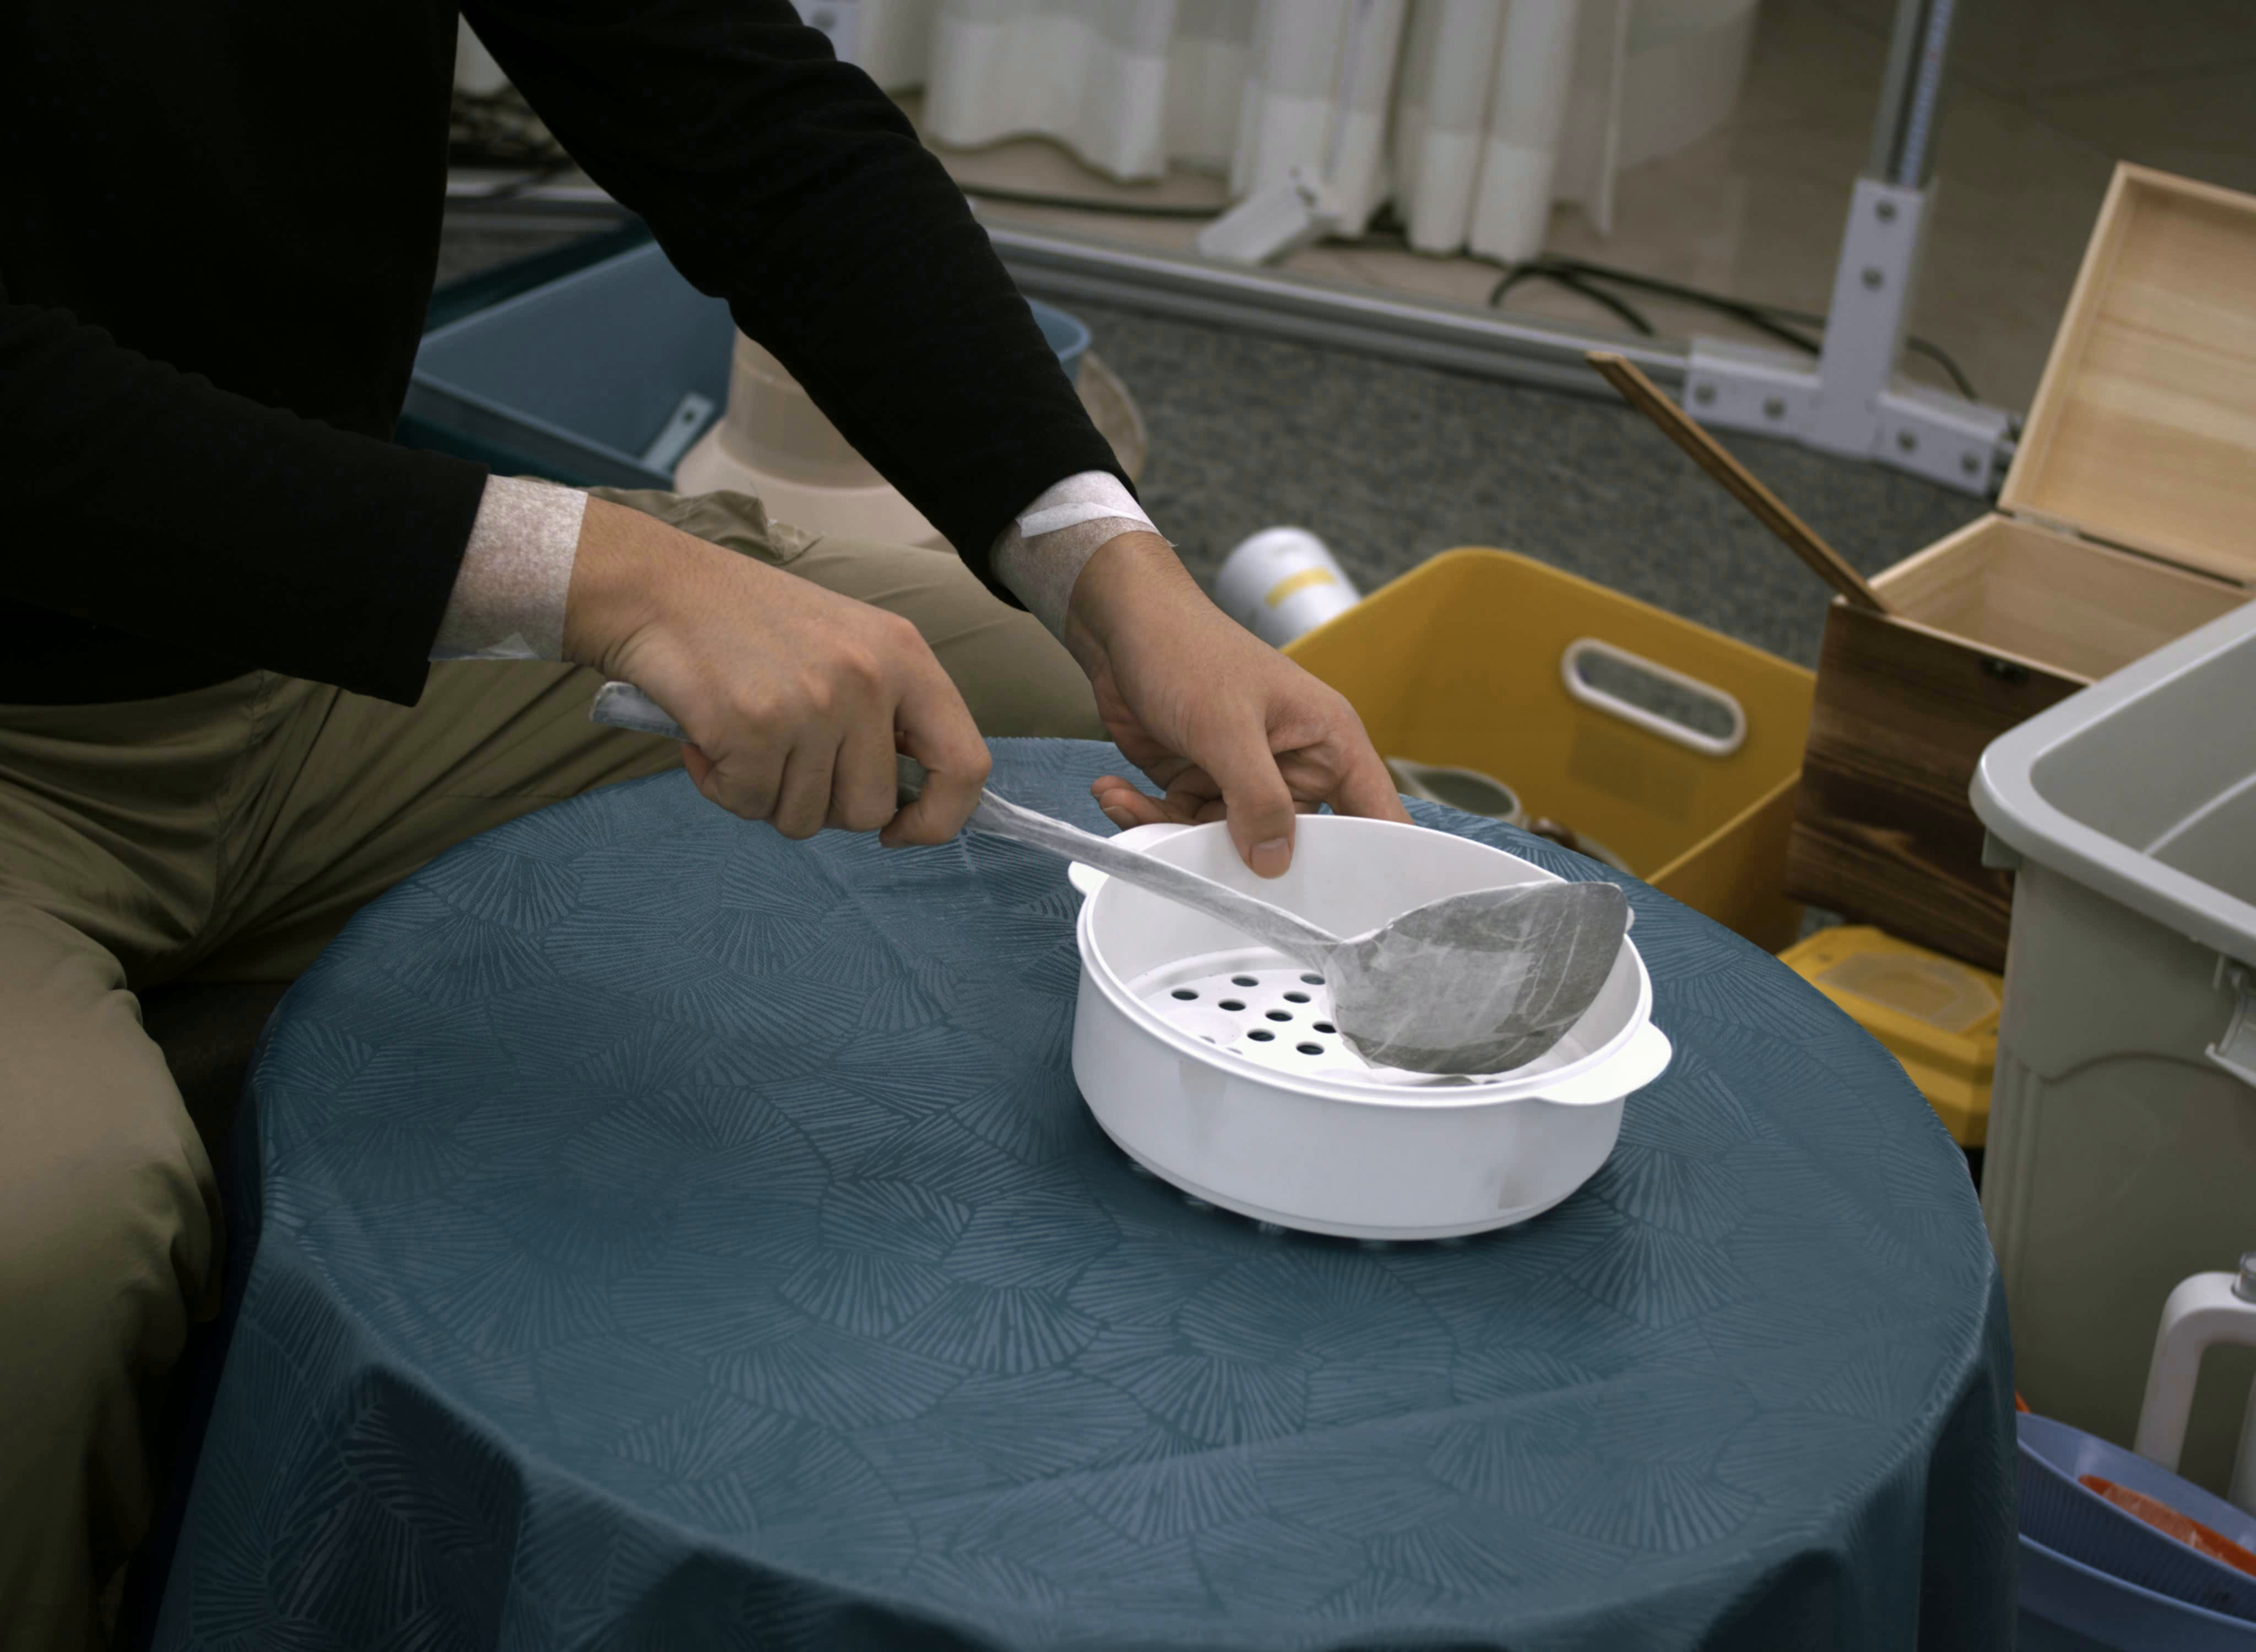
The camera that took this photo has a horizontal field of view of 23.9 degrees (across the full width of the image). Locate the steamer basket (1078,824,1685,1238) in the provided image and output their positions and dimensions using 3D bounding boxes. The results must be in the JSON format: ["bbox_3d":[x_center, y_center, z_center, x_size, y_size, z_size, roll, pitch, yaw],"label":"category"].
[{"bbox_3d":[0.083,0.072,1.846,0.232,0.069,0.201,23,30,31],"label":"steamer basket"}]

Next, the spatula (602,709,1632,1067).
[{"bbox_3d":[-0.002,0.011,1.817,0.363,0.098,0.045,20,40,-10],"label":"spatula"}]
